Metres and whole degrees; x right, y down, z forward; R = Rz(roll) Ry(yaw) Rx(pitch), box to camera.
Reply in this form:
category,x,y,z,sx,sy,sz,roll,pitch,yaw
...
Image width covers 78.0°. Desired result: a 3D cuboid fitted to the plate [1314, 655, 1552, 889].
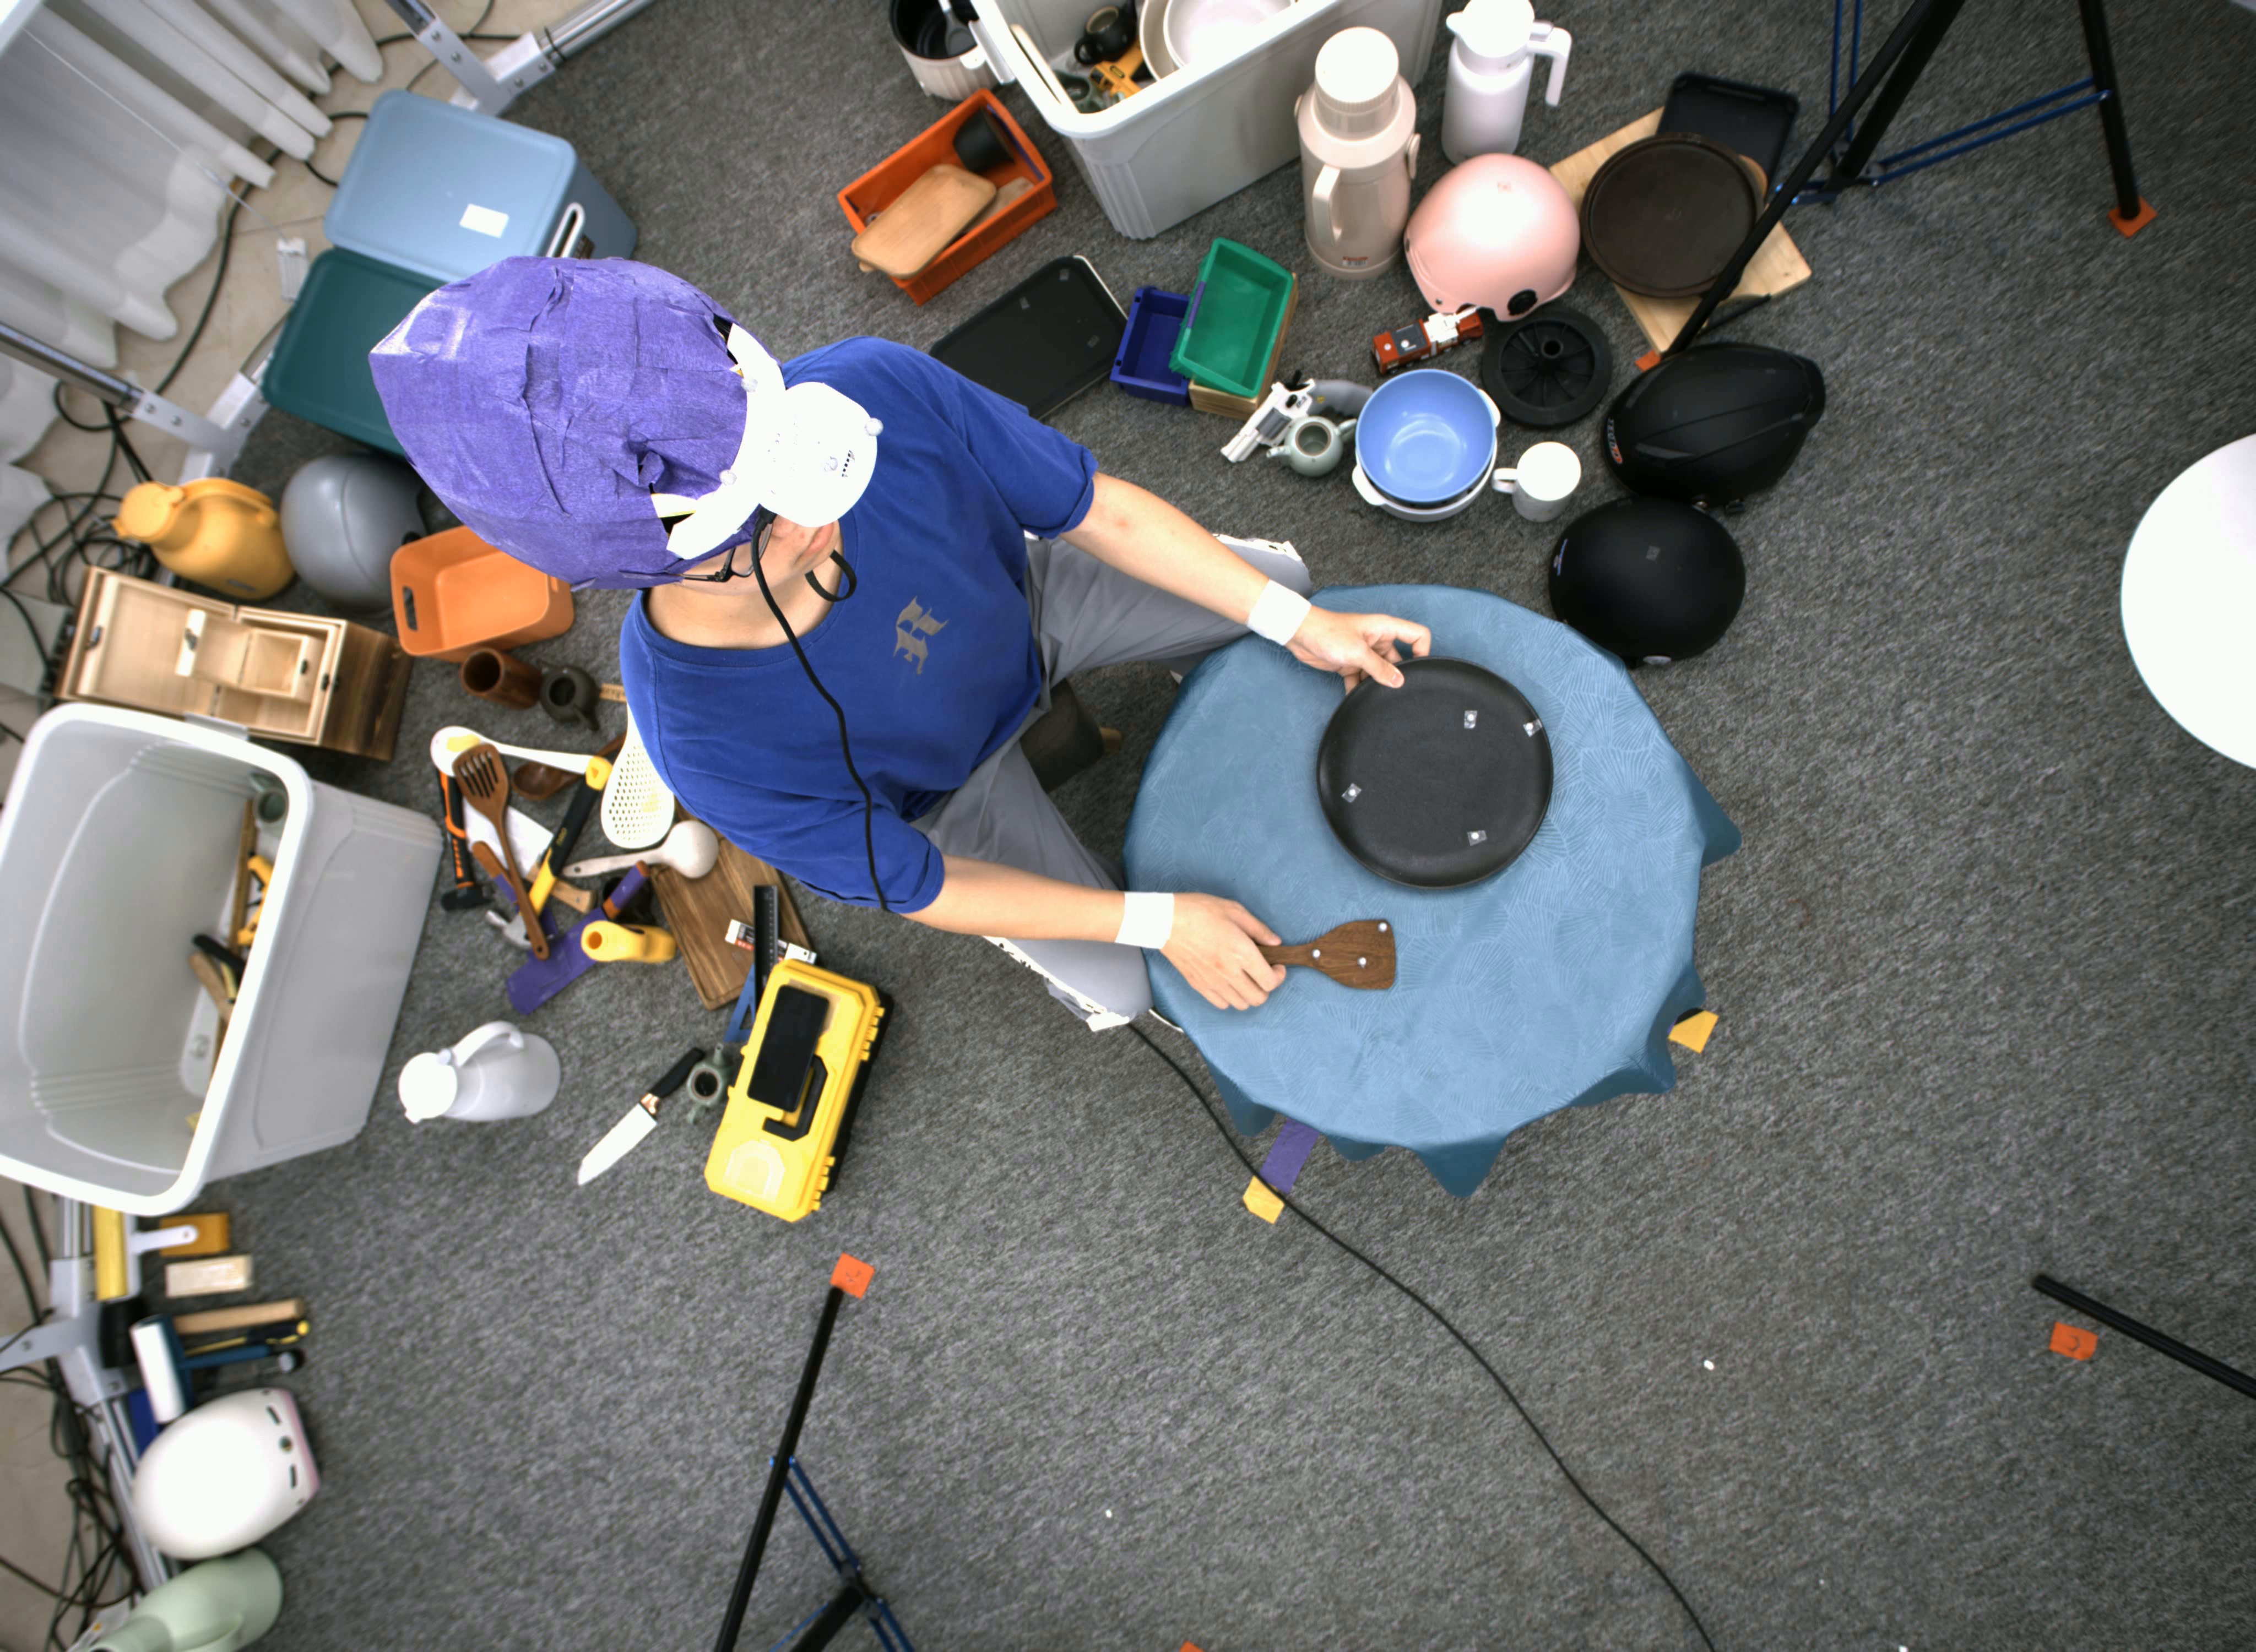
category,x,y,z,sx,sy,sz,roll,pitch,yaw
plate,0.317,-0.057,1.433,0.245,0.023,0.245,0,94,8

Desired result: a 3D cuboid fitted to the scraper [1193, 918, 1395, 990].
category,x,y,z,sx,sy,sz,roll,pitch,yaw
scraper,0.175,0.135,1.459,0.212,0.011,0.075,-1,85,4
